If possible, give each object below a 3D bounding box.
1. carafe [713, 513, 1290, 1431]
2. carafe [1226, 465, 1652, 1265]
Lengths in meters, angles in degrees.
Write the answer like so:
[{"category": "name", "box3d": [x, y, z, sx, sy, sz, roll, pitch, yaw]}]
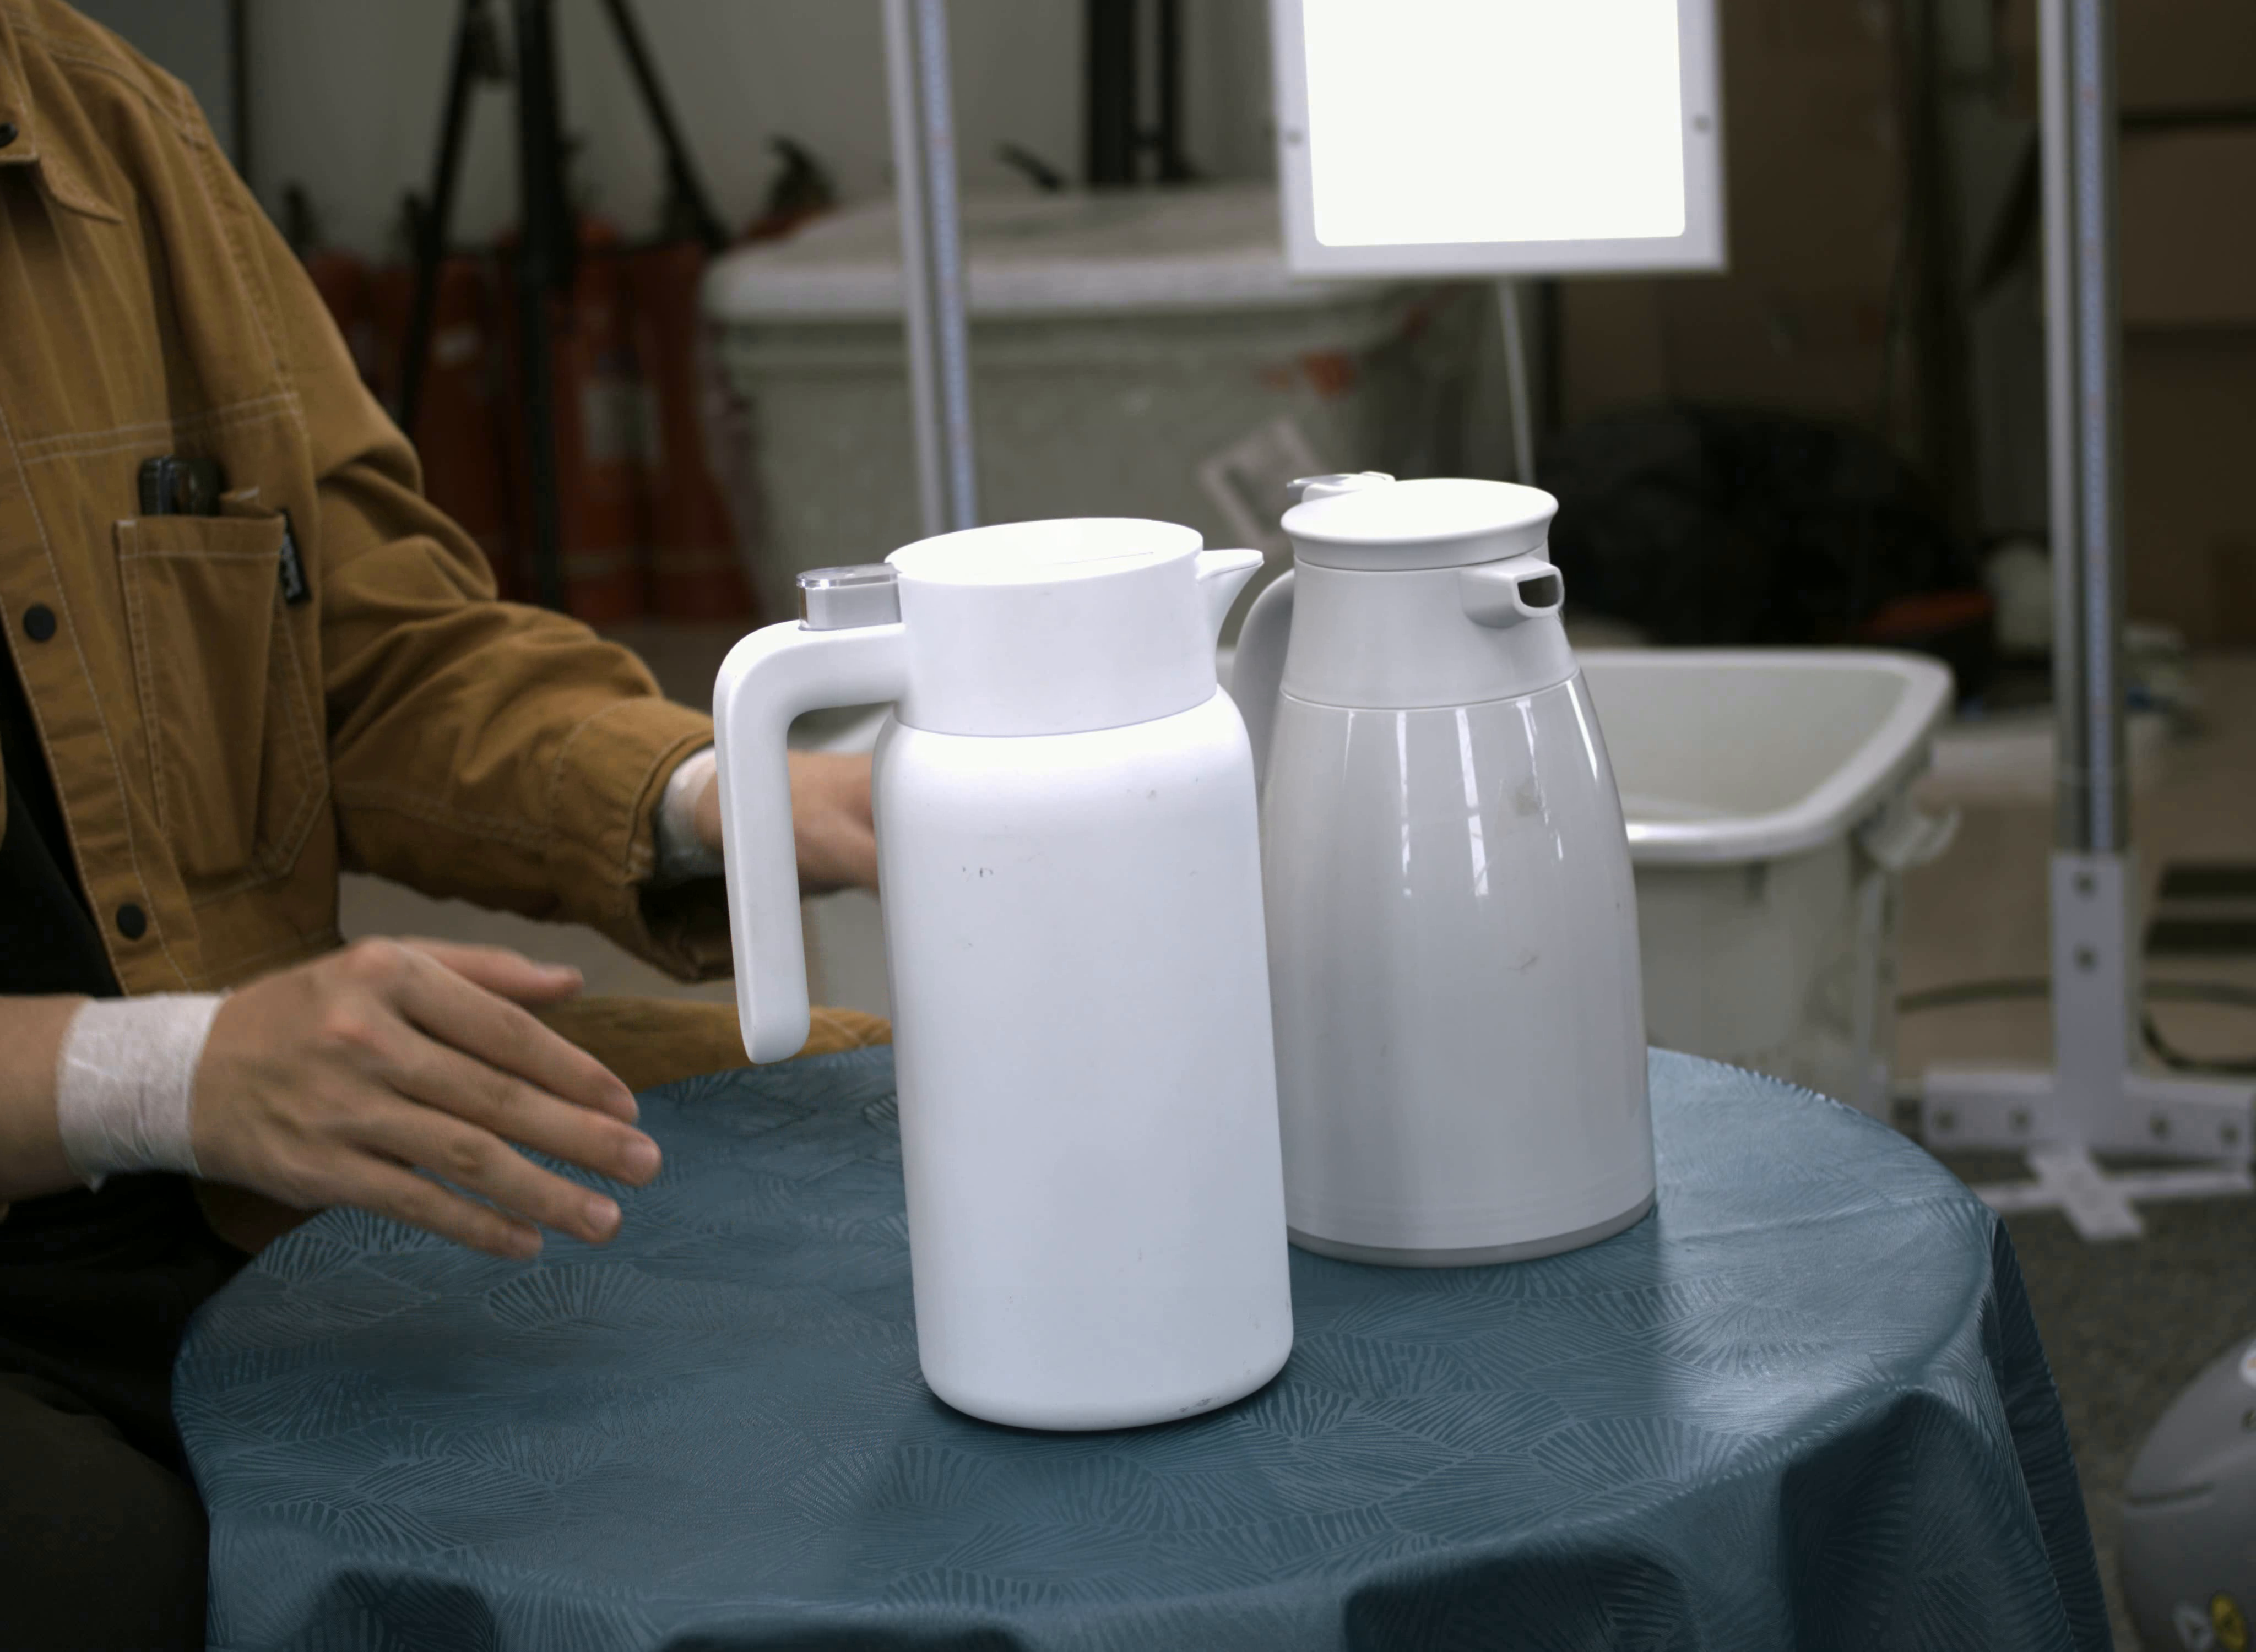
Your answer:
[{"category": "carafe", "box3d": [-0.033, 0.046, 1.680, 0.171, 0.270, 0.125, -8, 16, -11]}, {"category": "carafe", "box3d": [0.091, 0.005, 1.837, 0.129, 0.249, 0.171, -13, 15, -32]}]
